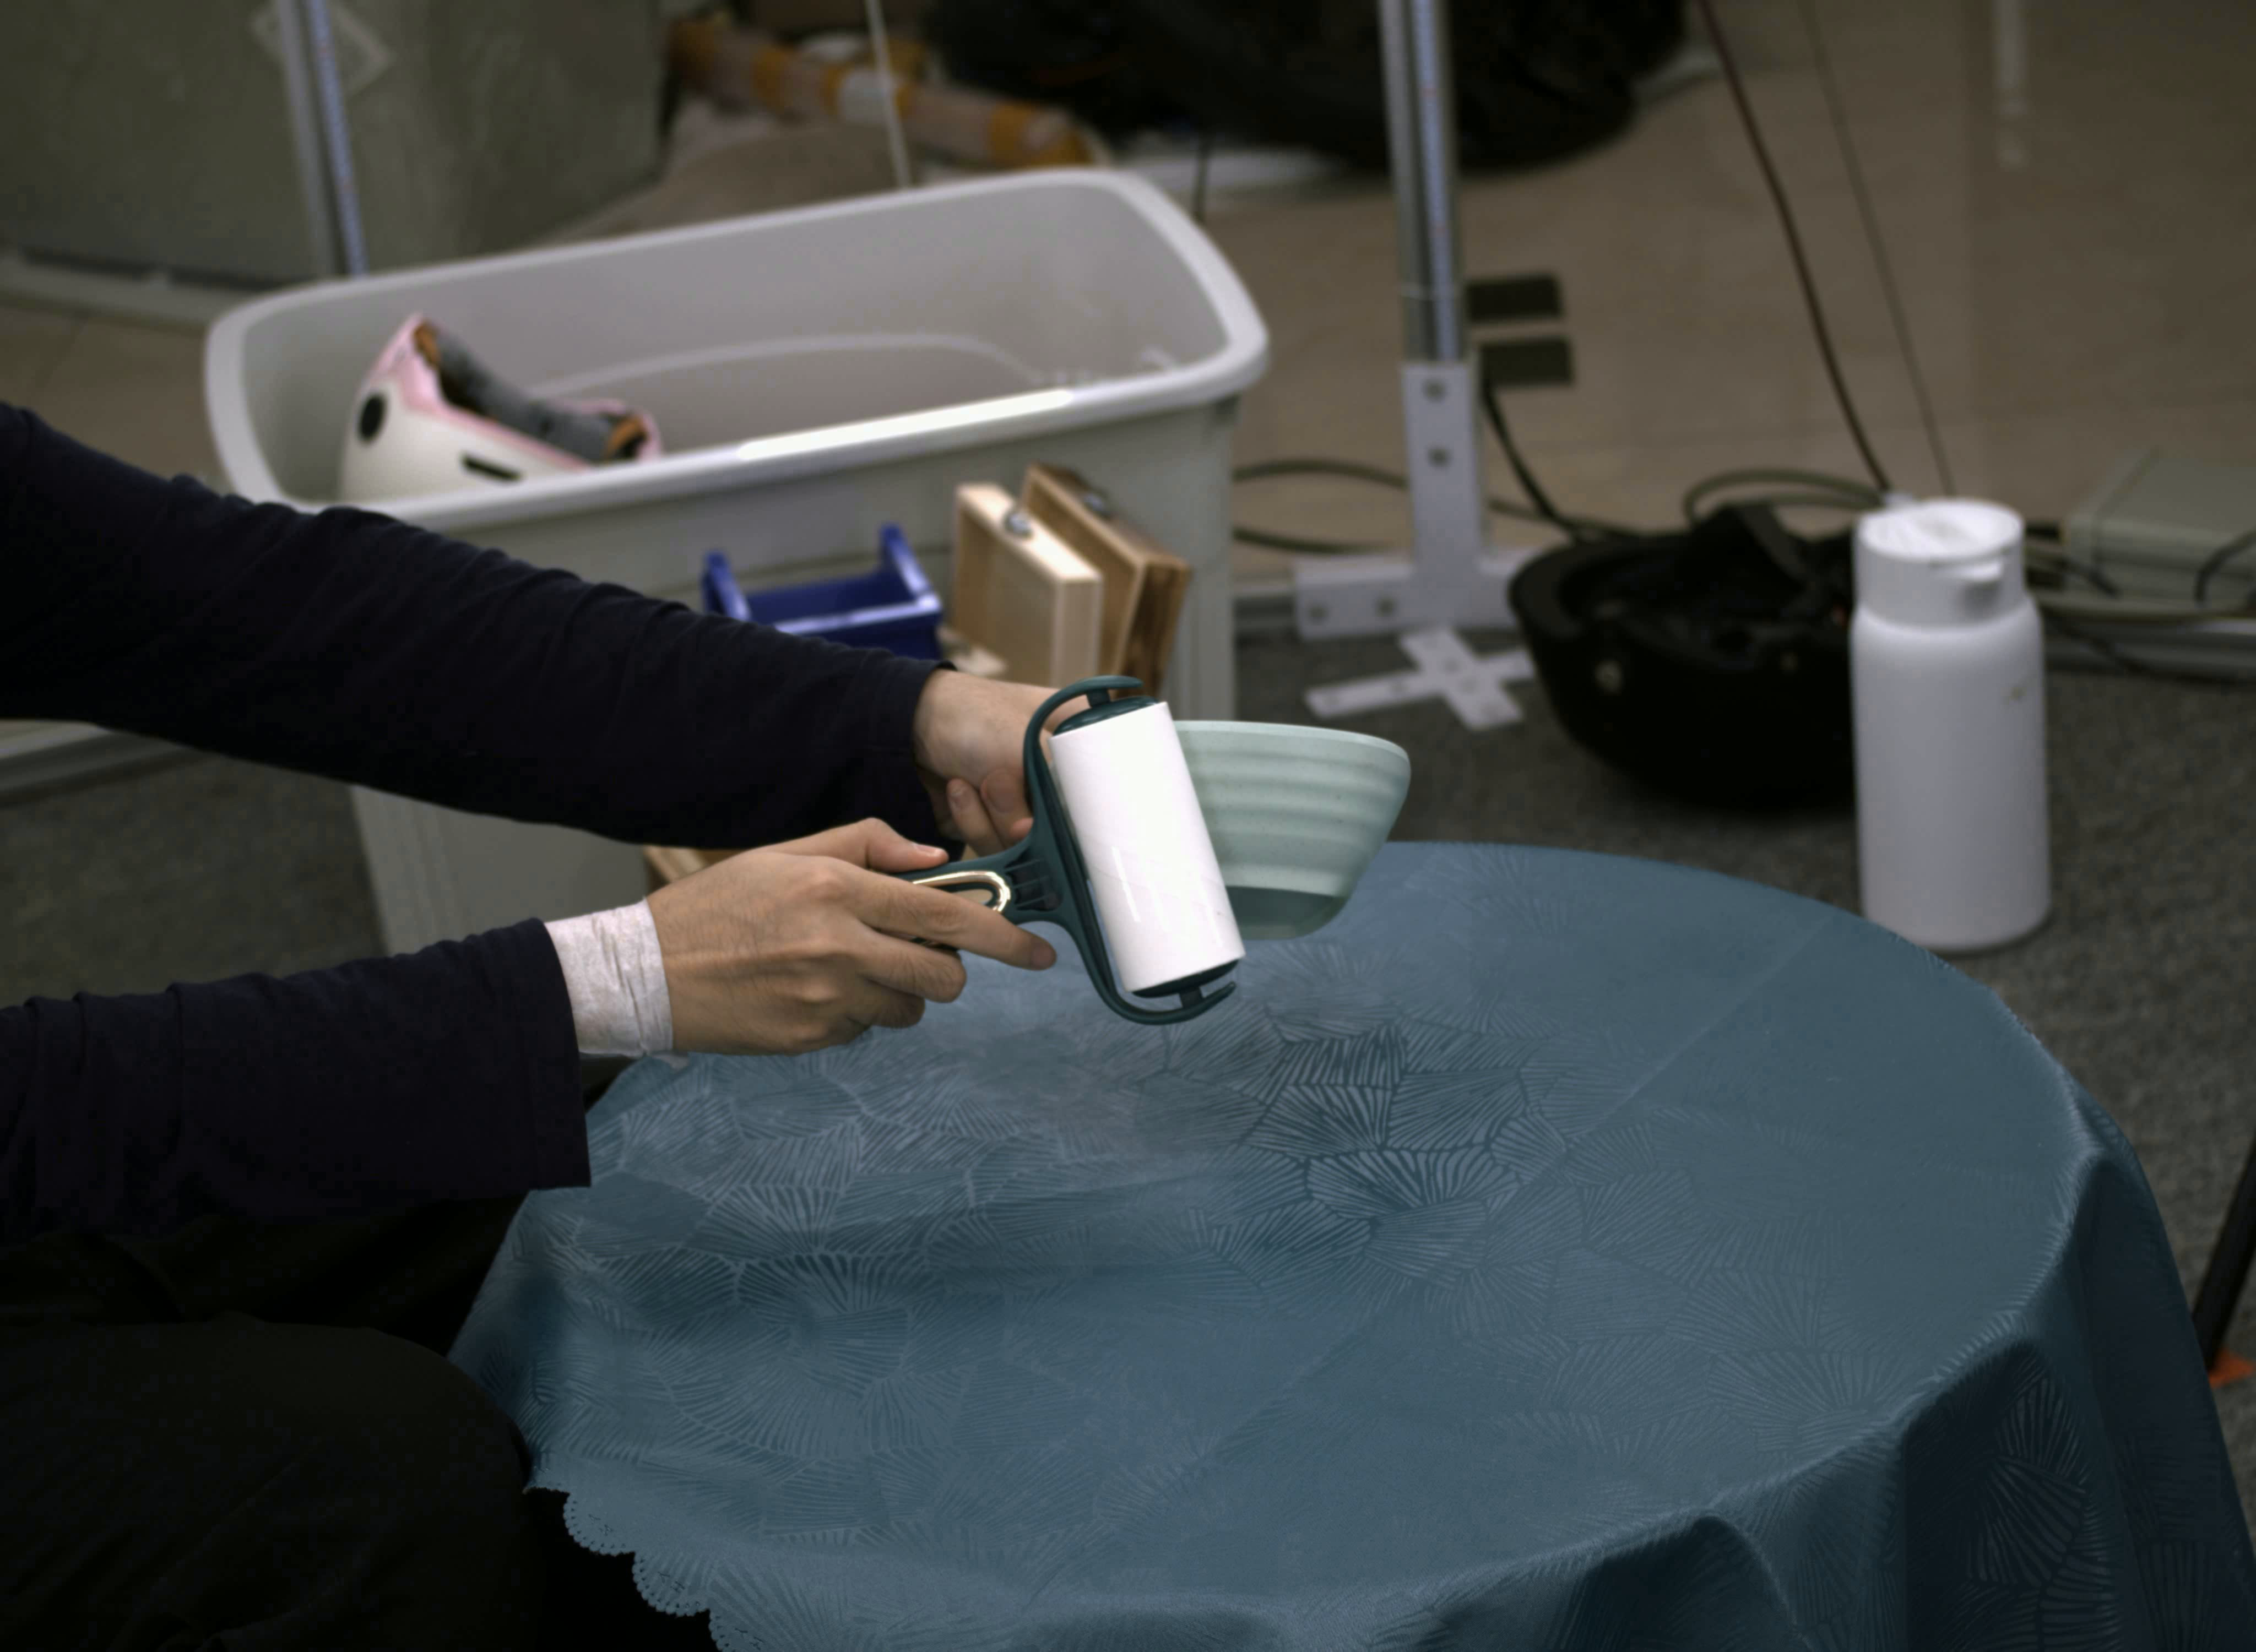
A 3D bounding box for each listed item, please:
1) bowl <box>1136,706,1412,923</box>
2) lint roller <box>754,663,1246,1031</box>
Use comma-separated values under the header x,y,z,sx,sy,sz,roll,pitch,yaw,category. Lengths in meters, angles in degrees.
x,y,z,sx,sy,sz,roll,pitch,yaw,category
0.035,-0.001,2.181,0.151,0.058,0.152,10,-9,1,bowl
-0.056,0.029,2.104,0.180,0.135,0.048,-18,2,5,lint roller
